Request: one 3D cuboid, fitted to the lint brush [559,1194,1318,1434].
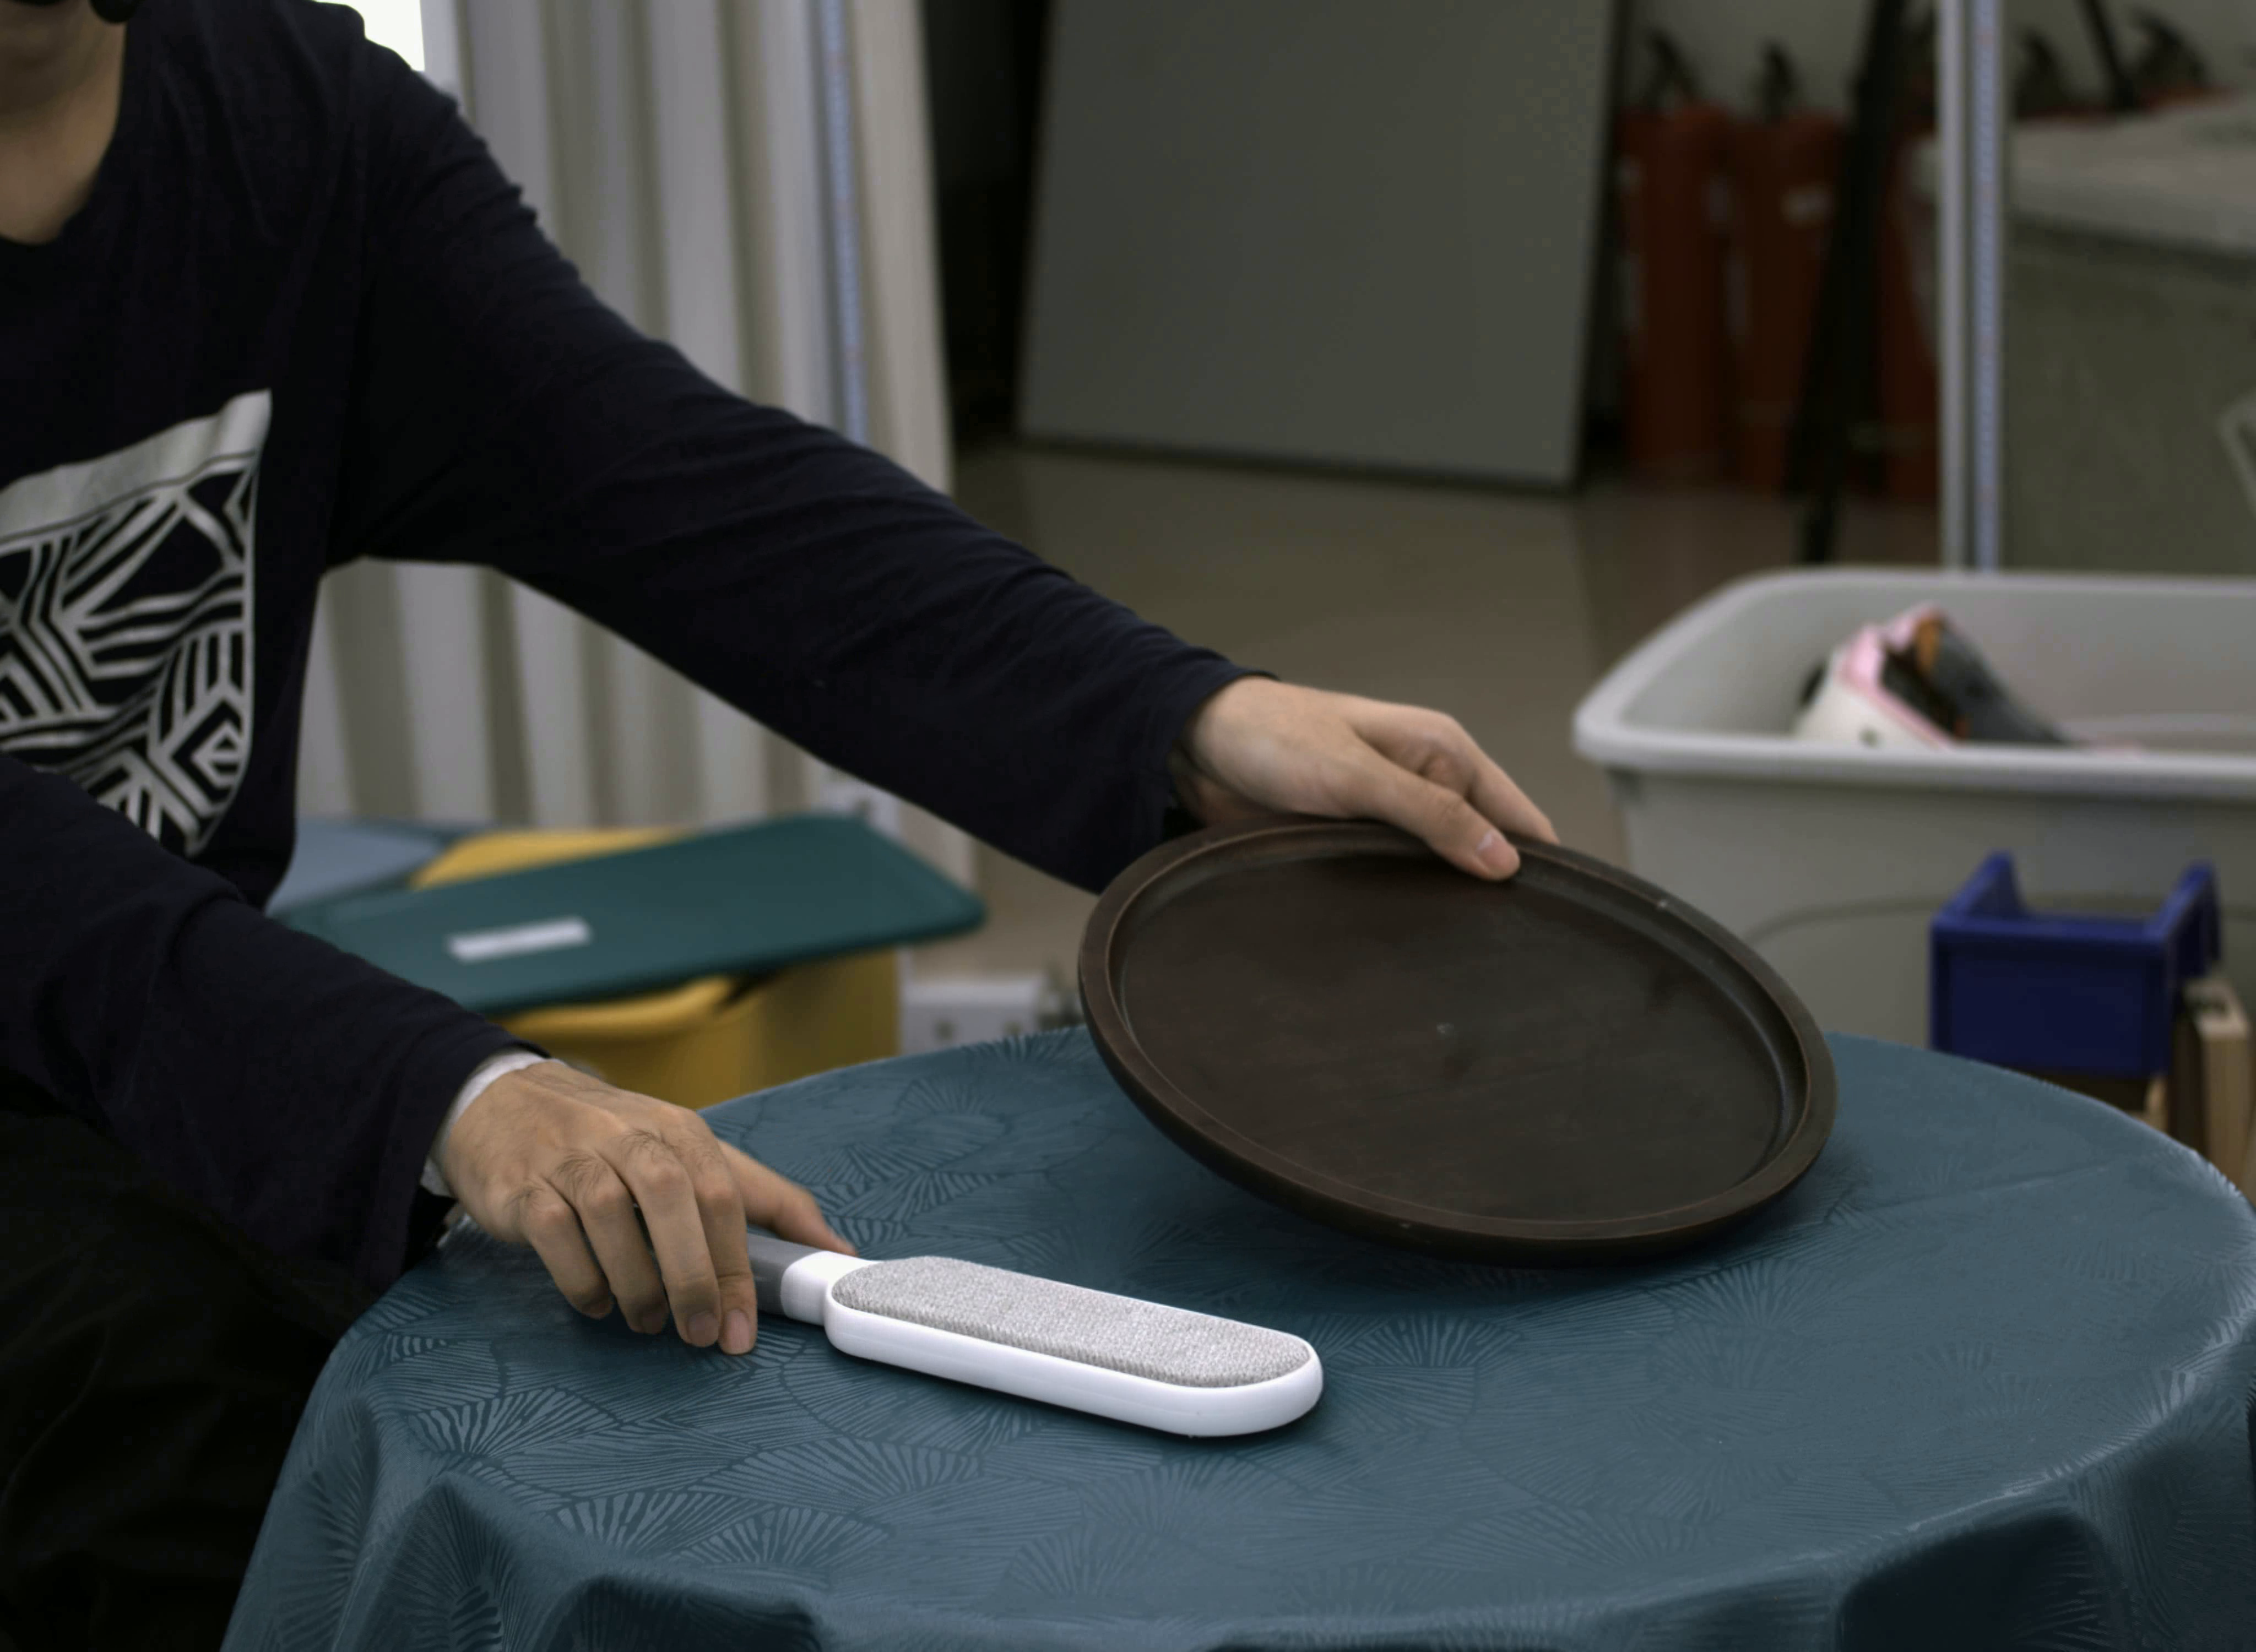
[{"bbox_3d":[-0.065,0.144,1.641,0.311,0.021,0.059,8,24,42],"label":"lint brush"}]

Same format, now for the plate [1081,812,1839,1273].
[{"bbox_3d":[0.107,0.068,1.747,0.251,0.029,0.256,9,28,-6],"label":"plate"}]
